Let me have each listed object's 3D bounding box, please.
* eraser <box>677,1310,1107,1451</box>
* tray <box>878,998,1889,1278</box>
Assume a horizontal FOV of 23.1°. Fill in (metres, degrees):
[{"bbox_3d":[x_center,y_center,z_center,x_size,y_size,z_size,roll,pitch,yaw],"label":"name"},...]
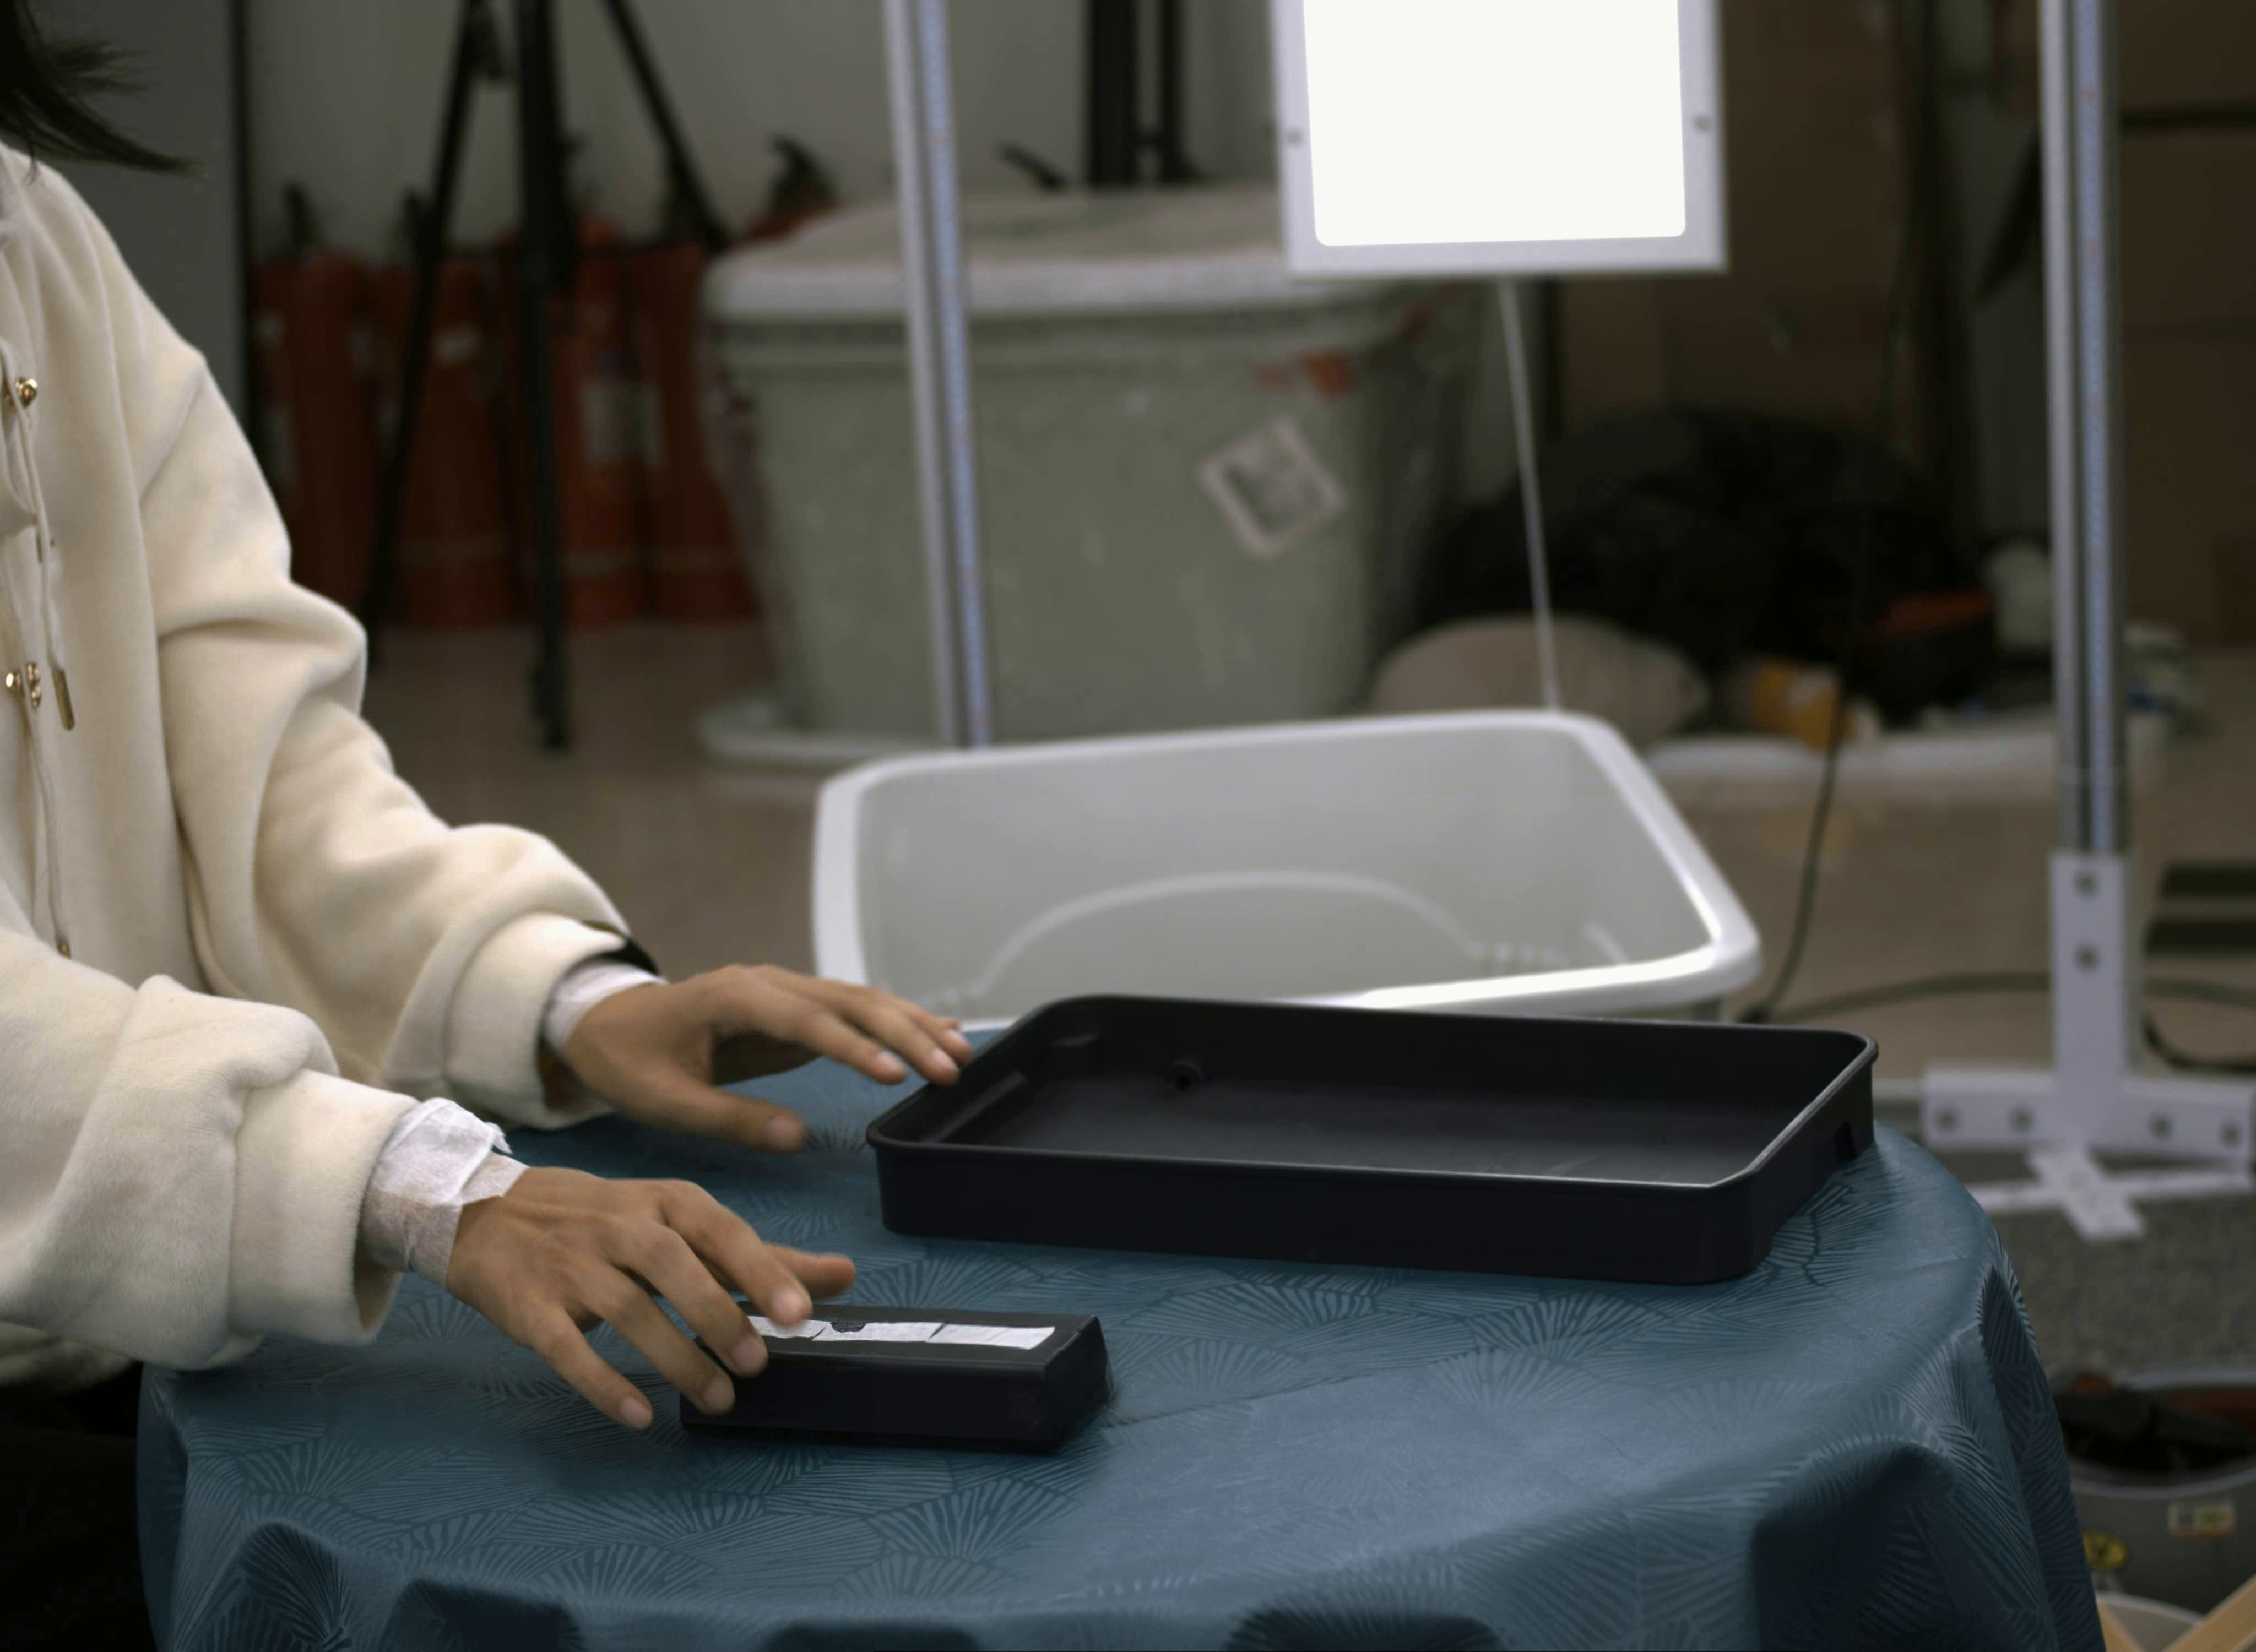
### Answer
[{"bbox_3d":[-0.071,0.169,1.690,0.127,0.030,0.052,1,10,22],"label":"eraser"},{"bbox_3d":[0.090,0.104,1.880,0.323,0.037,0.180,1,14,24],"label":"tray"}]
